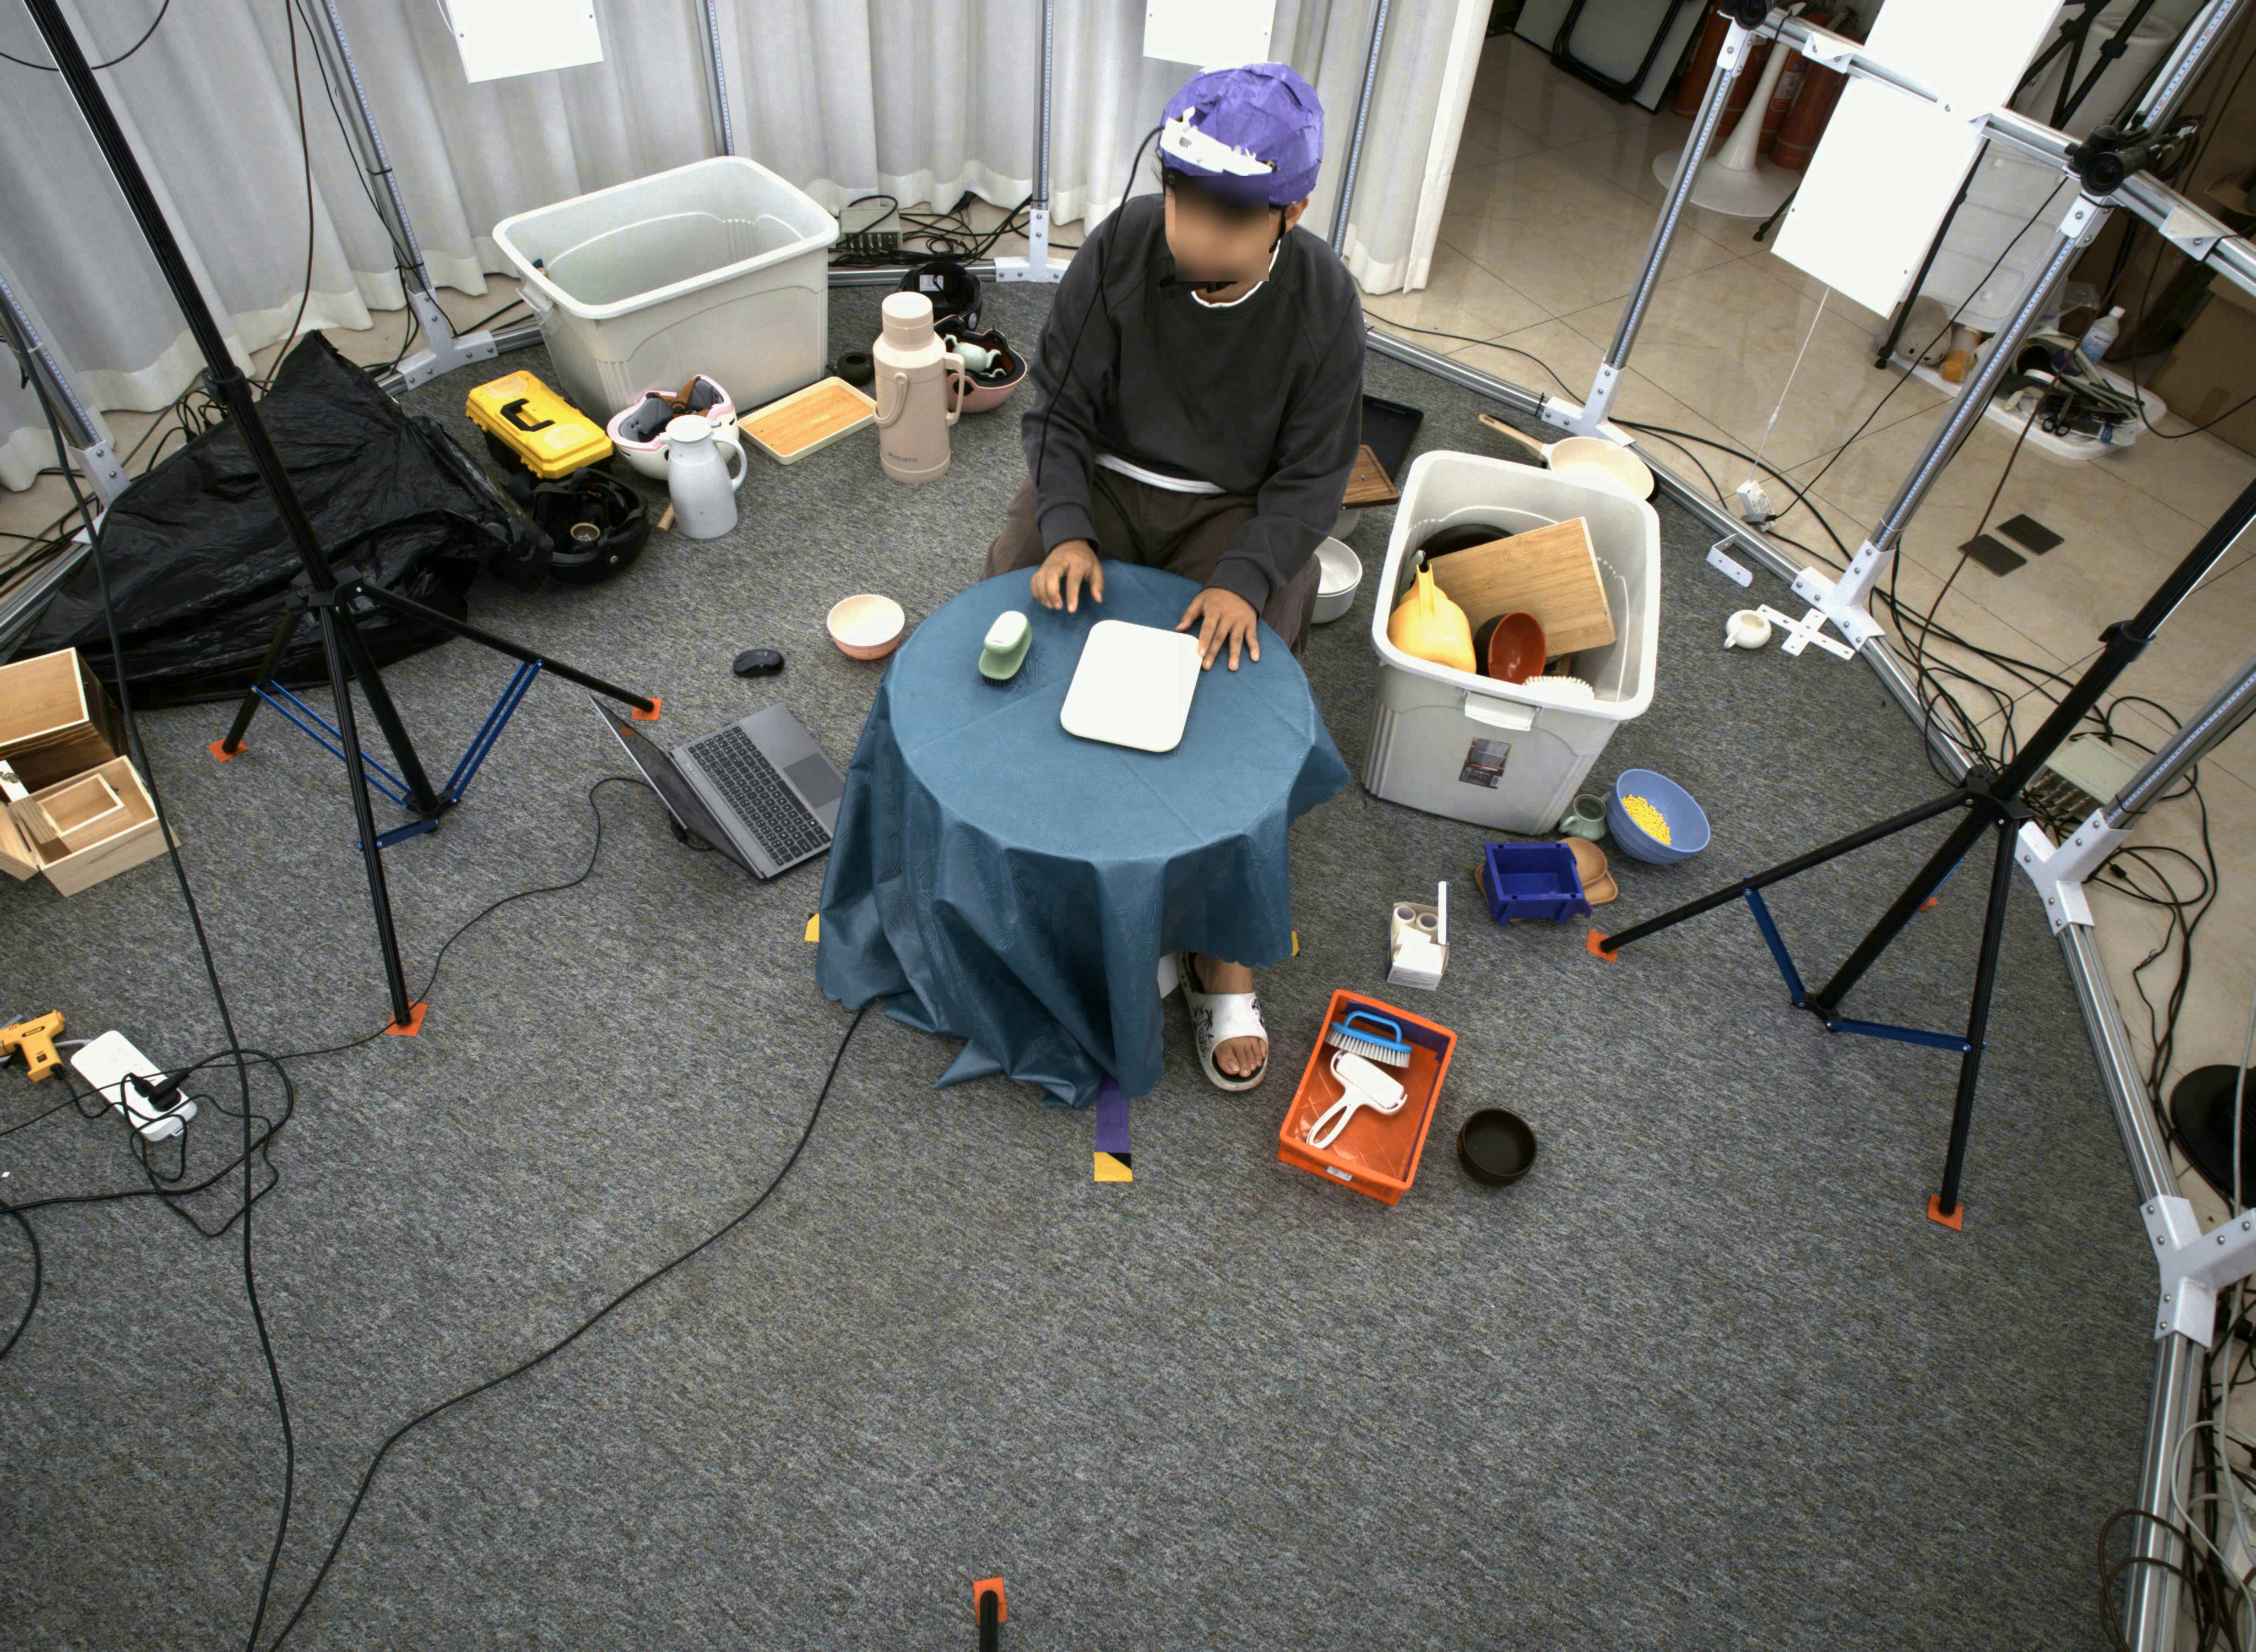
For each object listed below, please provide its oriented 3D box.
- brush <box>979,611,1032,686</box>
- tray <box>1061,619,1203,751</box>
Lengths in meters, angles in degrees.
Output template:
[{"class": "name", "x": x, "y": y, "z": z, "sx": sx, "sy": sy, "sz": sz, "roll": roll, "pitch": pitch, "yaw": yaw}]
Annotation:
[{"class": "brush", "x": -0.175, "y": -0.255, "z": 1.839, "sx": 0.060, "sy": 0.074, "sz": 0.125, "roll": 13, "pitch": 36, "yaw": 5}, {"class": "tray", "x": 0.009, "y": -0.202, "z": 1.829, "sx": 0.171, "sy": 0.017, "sz": 0.245, "roll": 12, "pitch": 49, "yaw": 5}]
